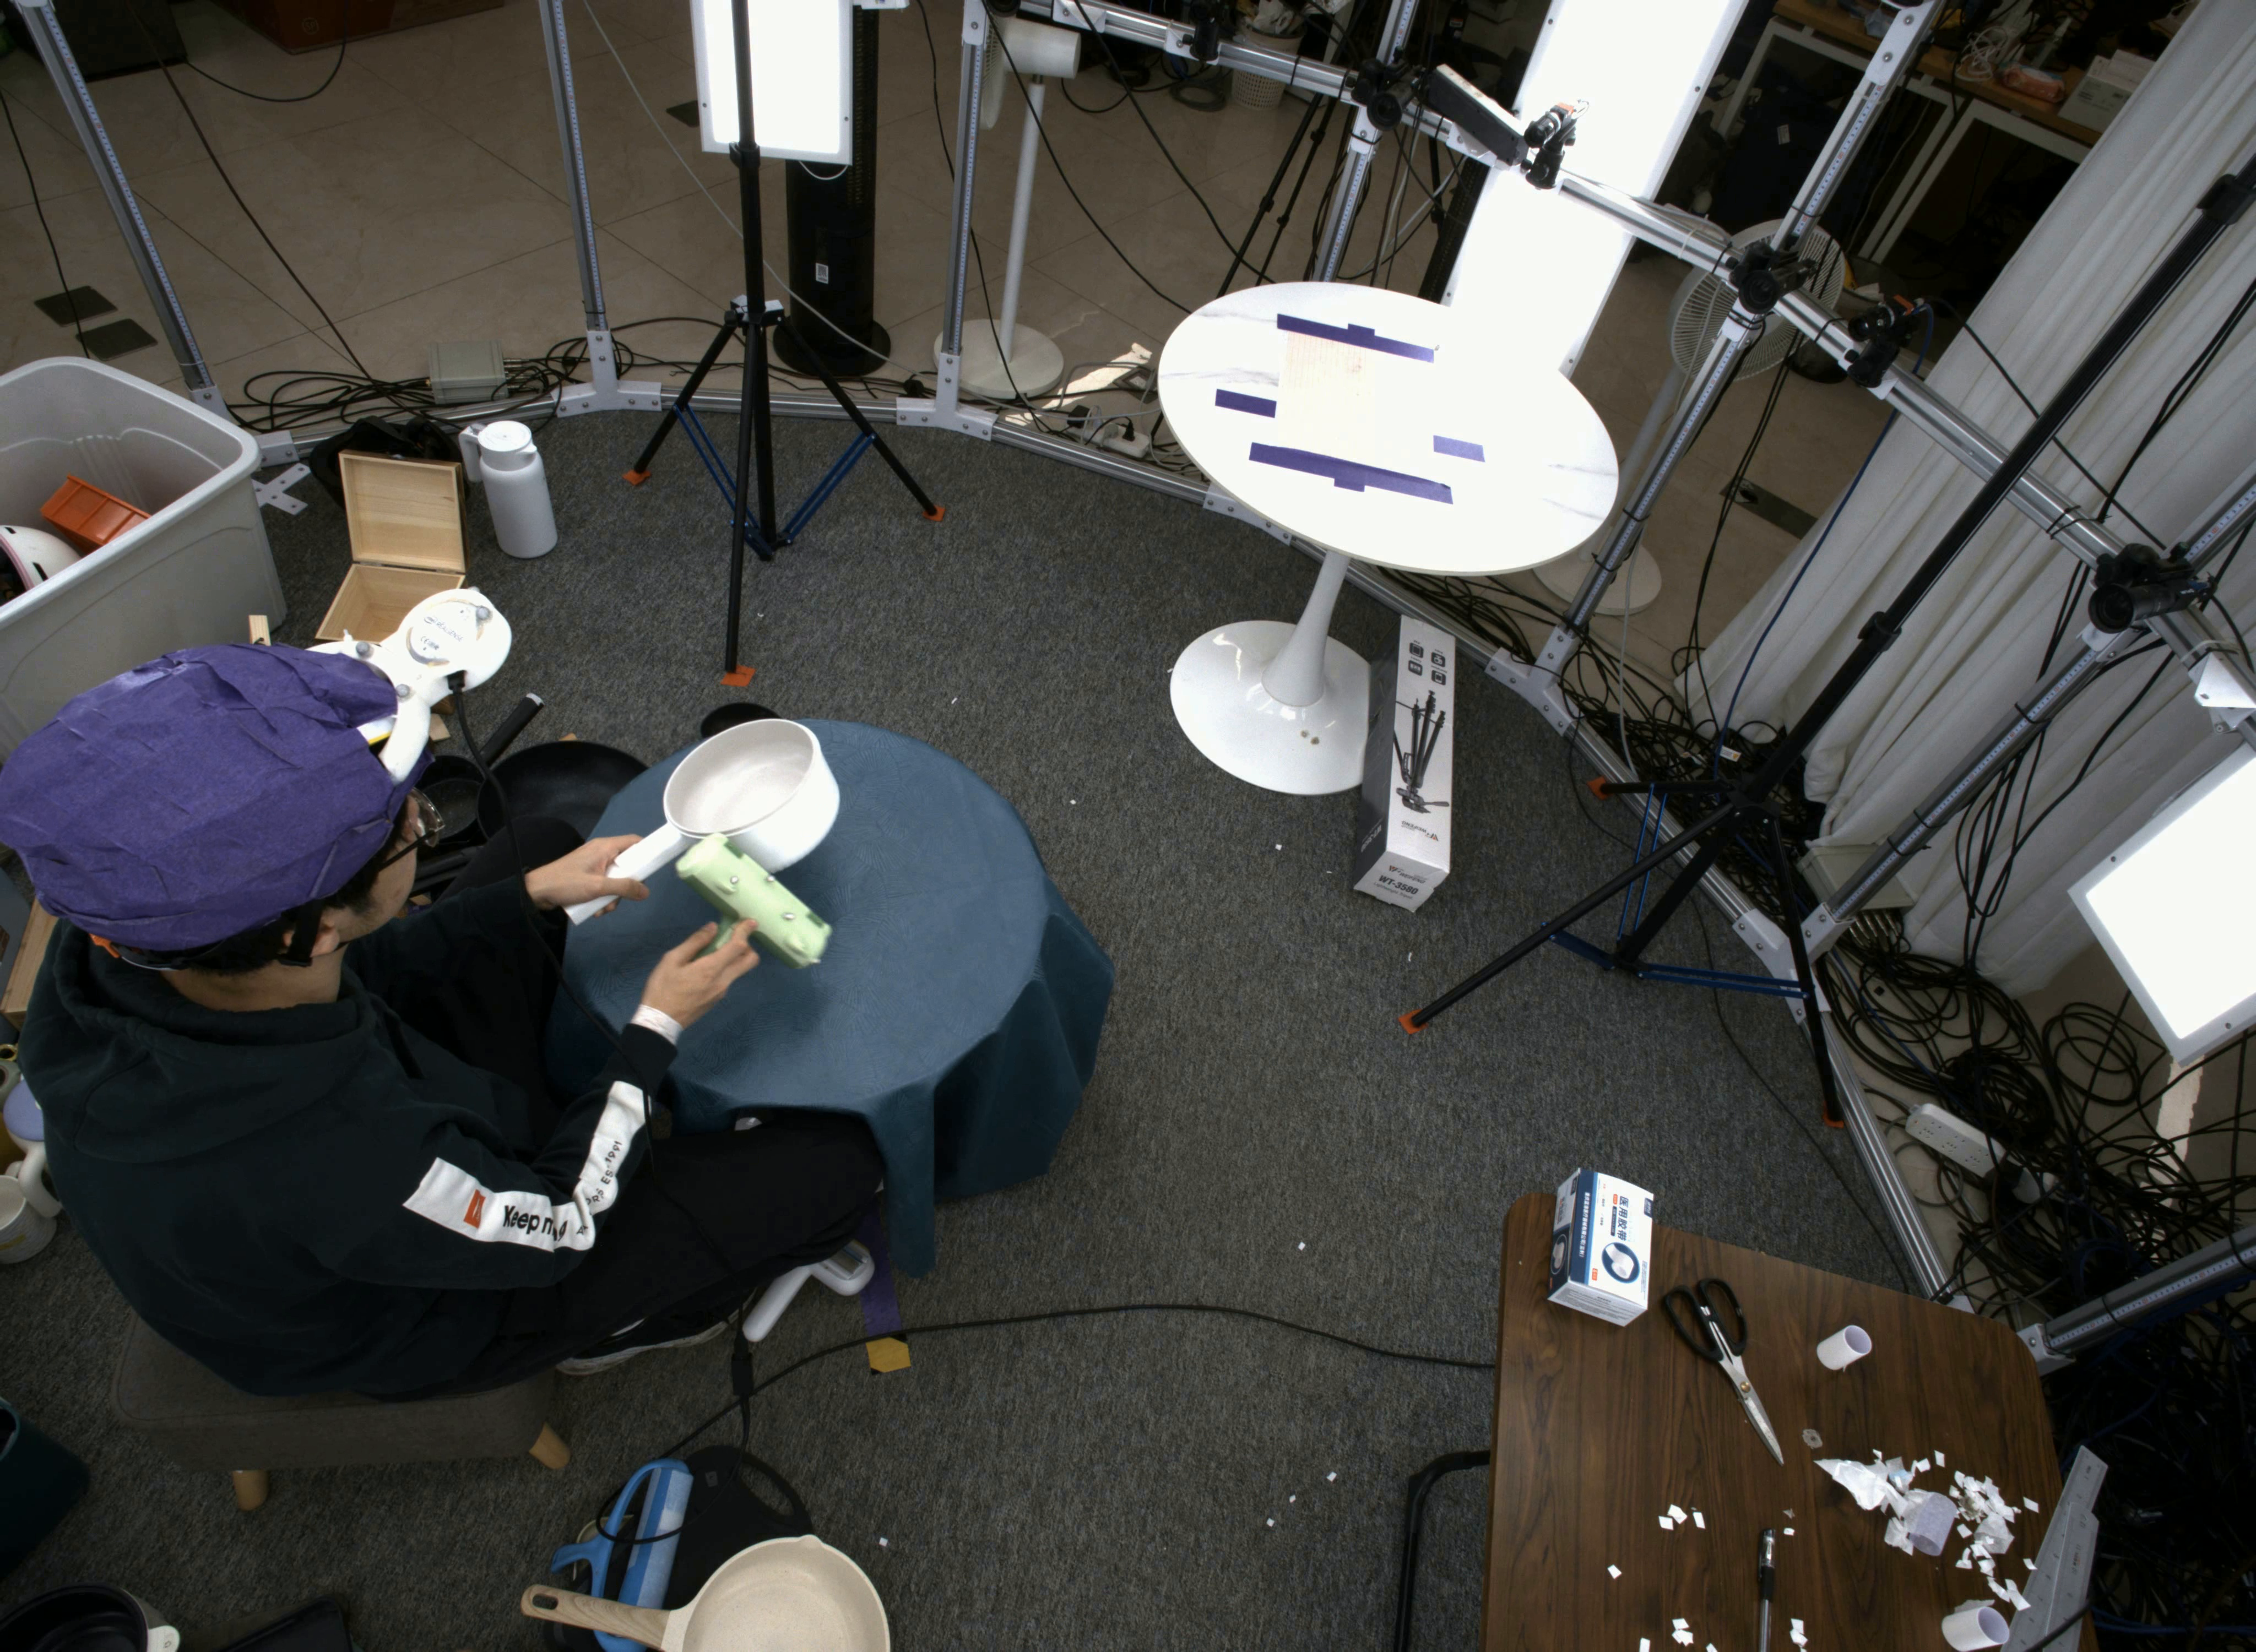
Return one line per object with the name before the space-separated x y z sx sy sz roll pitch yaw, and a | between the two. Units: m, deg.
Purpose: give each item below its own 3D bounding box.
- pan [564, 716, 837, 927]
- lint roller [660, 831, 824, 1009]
pan | -0.512 0.016 1.552 0.355 0.106 0.193 -40 49 -20
lint roller | -0.460 0.133 1.468 0.079 0.206 0.183 10 59 45
